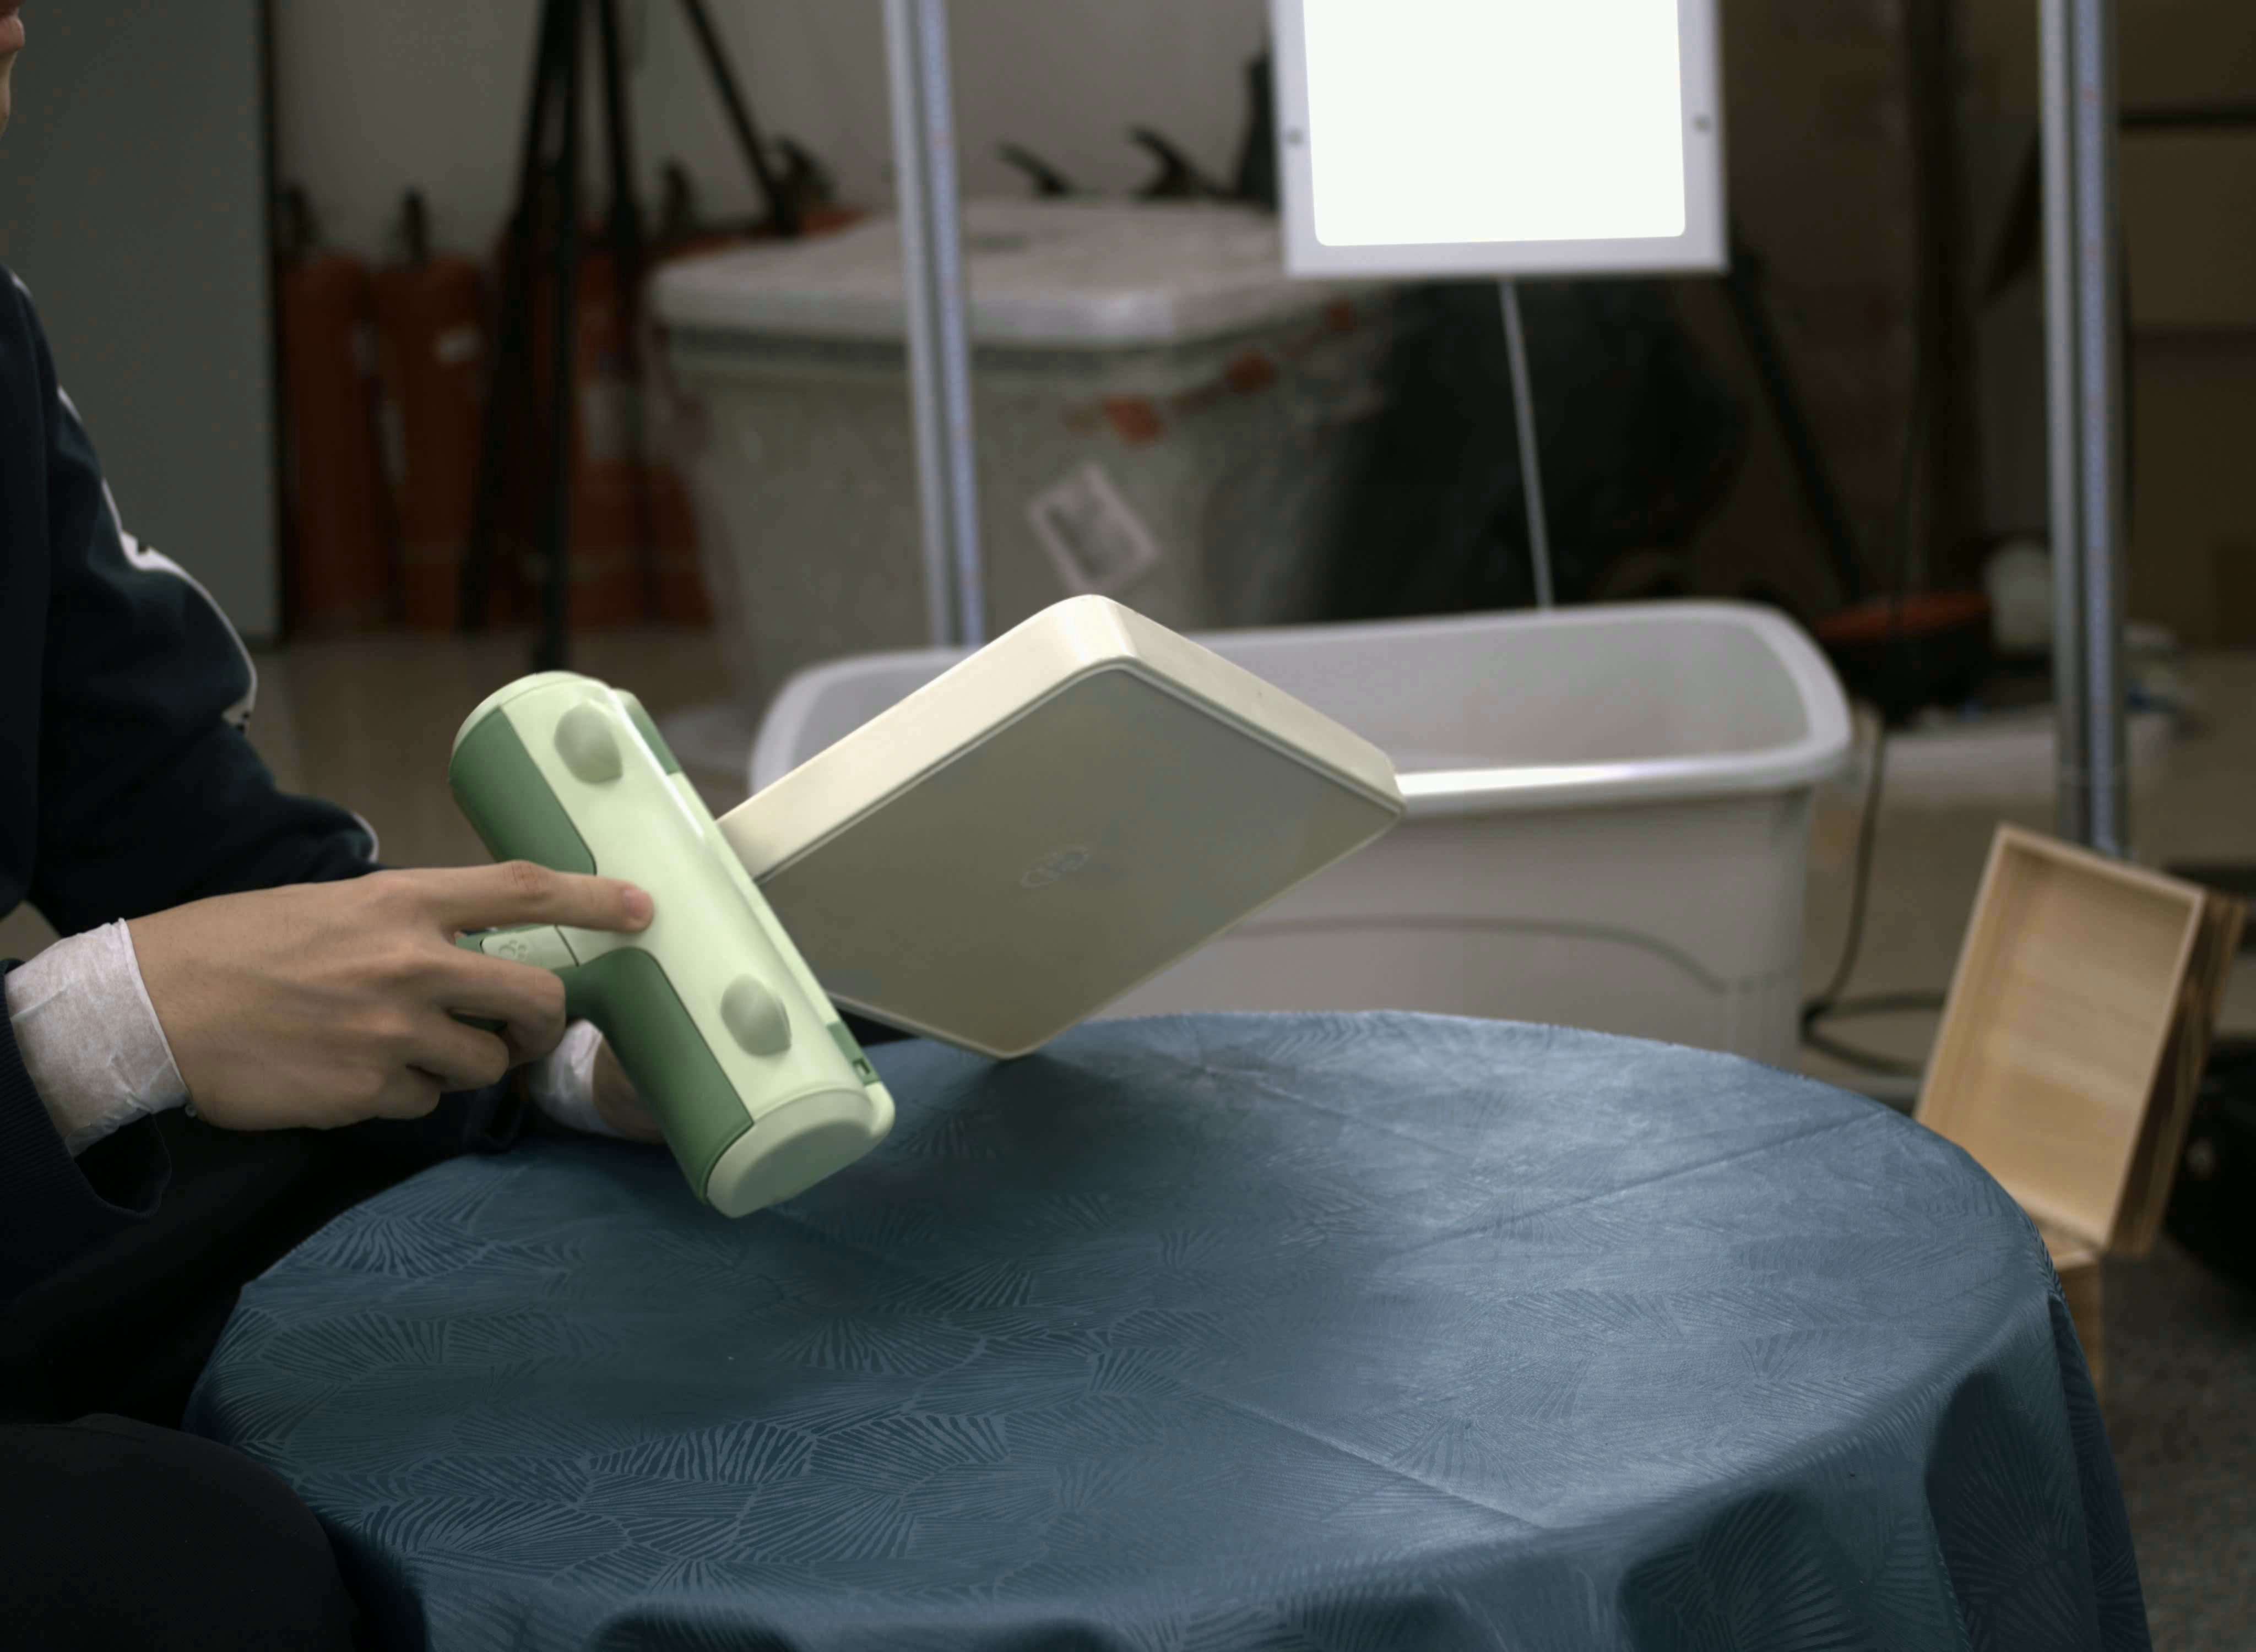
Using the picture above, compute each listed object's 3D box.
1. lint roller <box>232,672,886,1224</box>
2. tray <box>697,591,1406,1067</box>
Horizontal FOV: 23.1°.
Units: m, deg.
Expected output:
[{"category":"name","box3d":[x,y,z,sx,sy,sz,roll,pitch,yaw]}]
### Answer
[{"category":"lint roller","box3d":[-0.191,0.038,1.727,0.178,0.083,0.200,-9,54,-39]},{"category":"tray","box3d":[-0.030,0.008,1.918,0.193,0.027,0.295,-32,-21,15]}]
